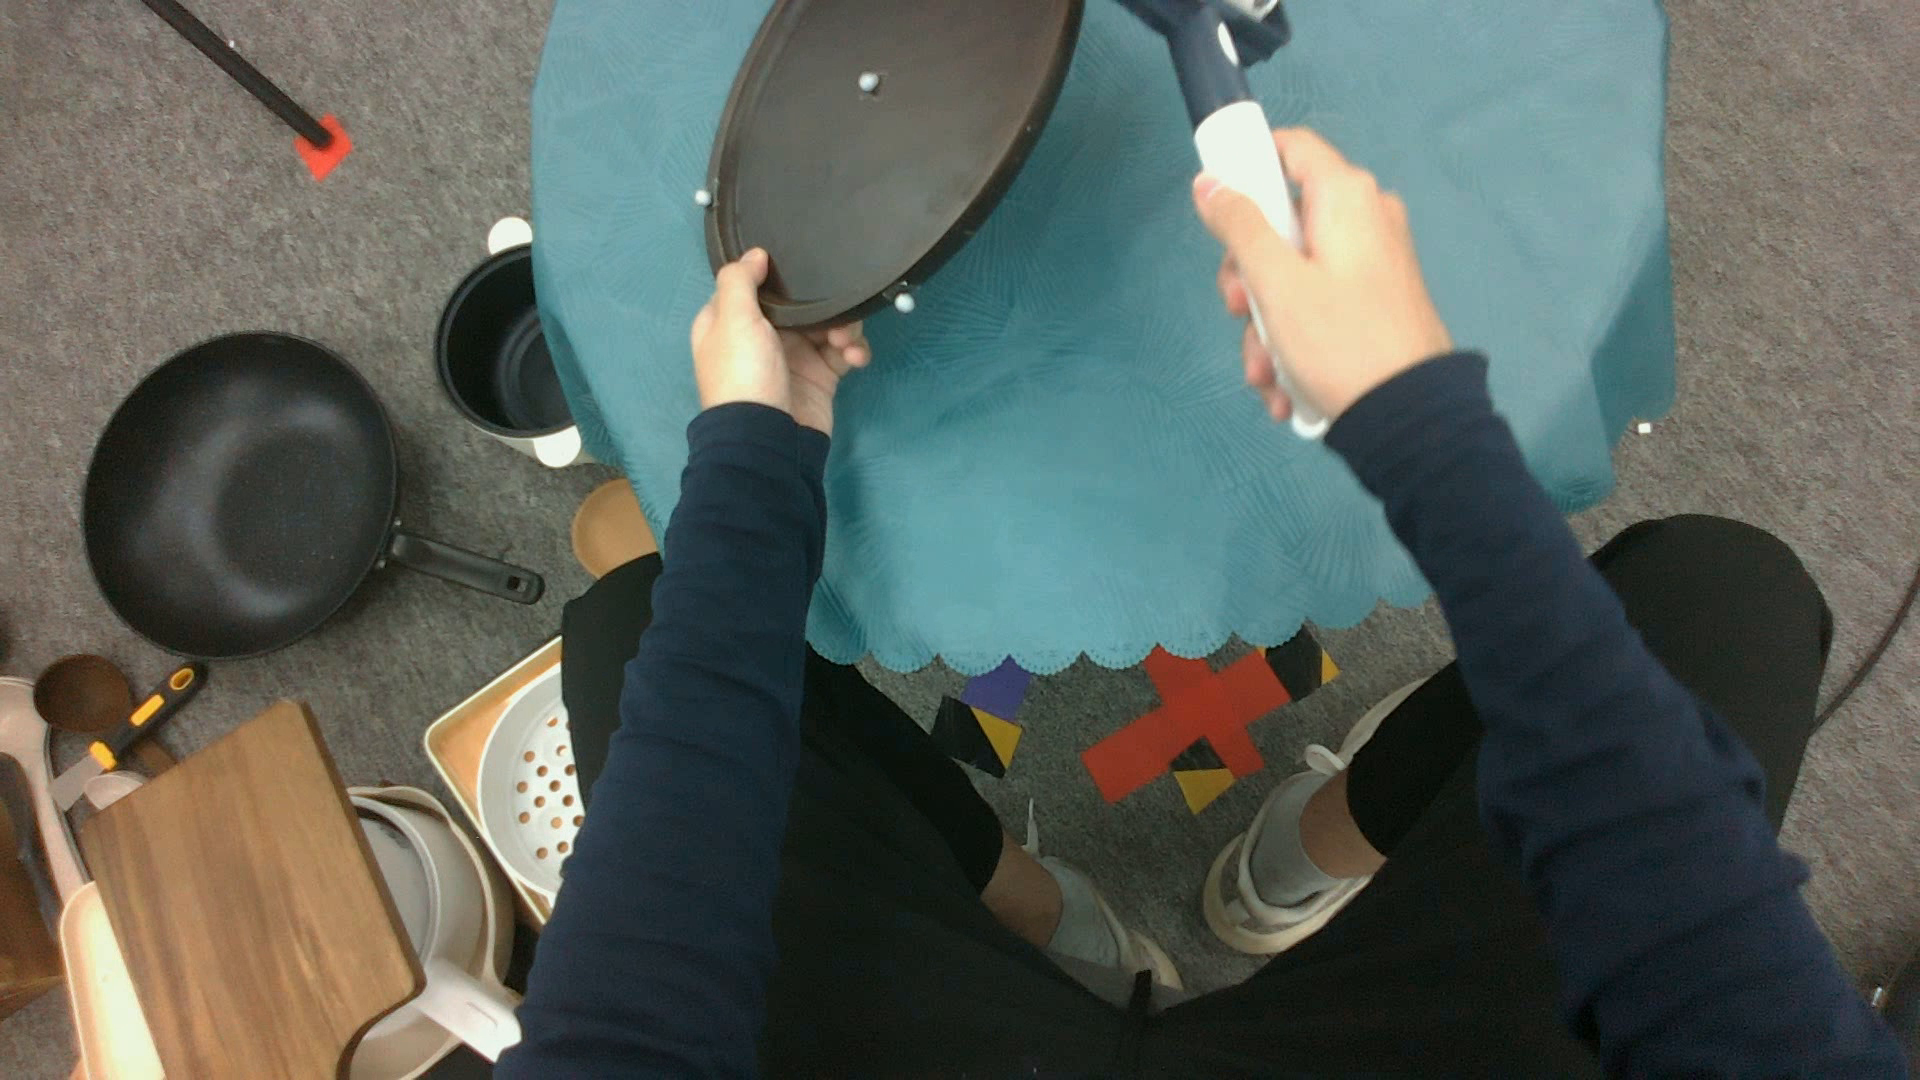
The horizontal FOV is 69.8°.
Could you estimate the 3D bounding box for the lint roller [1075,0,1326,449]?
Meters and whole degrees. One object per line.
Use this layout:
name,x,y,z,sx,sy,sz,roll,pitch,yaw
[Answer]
lint roller,0.105,-0.157,0.560,0.050,0.177,0.247,-25,78,33

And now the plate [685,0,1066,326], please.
plate,-0.047,-0.220,0.660,0.254,0.029,0.255,-18,62,40
